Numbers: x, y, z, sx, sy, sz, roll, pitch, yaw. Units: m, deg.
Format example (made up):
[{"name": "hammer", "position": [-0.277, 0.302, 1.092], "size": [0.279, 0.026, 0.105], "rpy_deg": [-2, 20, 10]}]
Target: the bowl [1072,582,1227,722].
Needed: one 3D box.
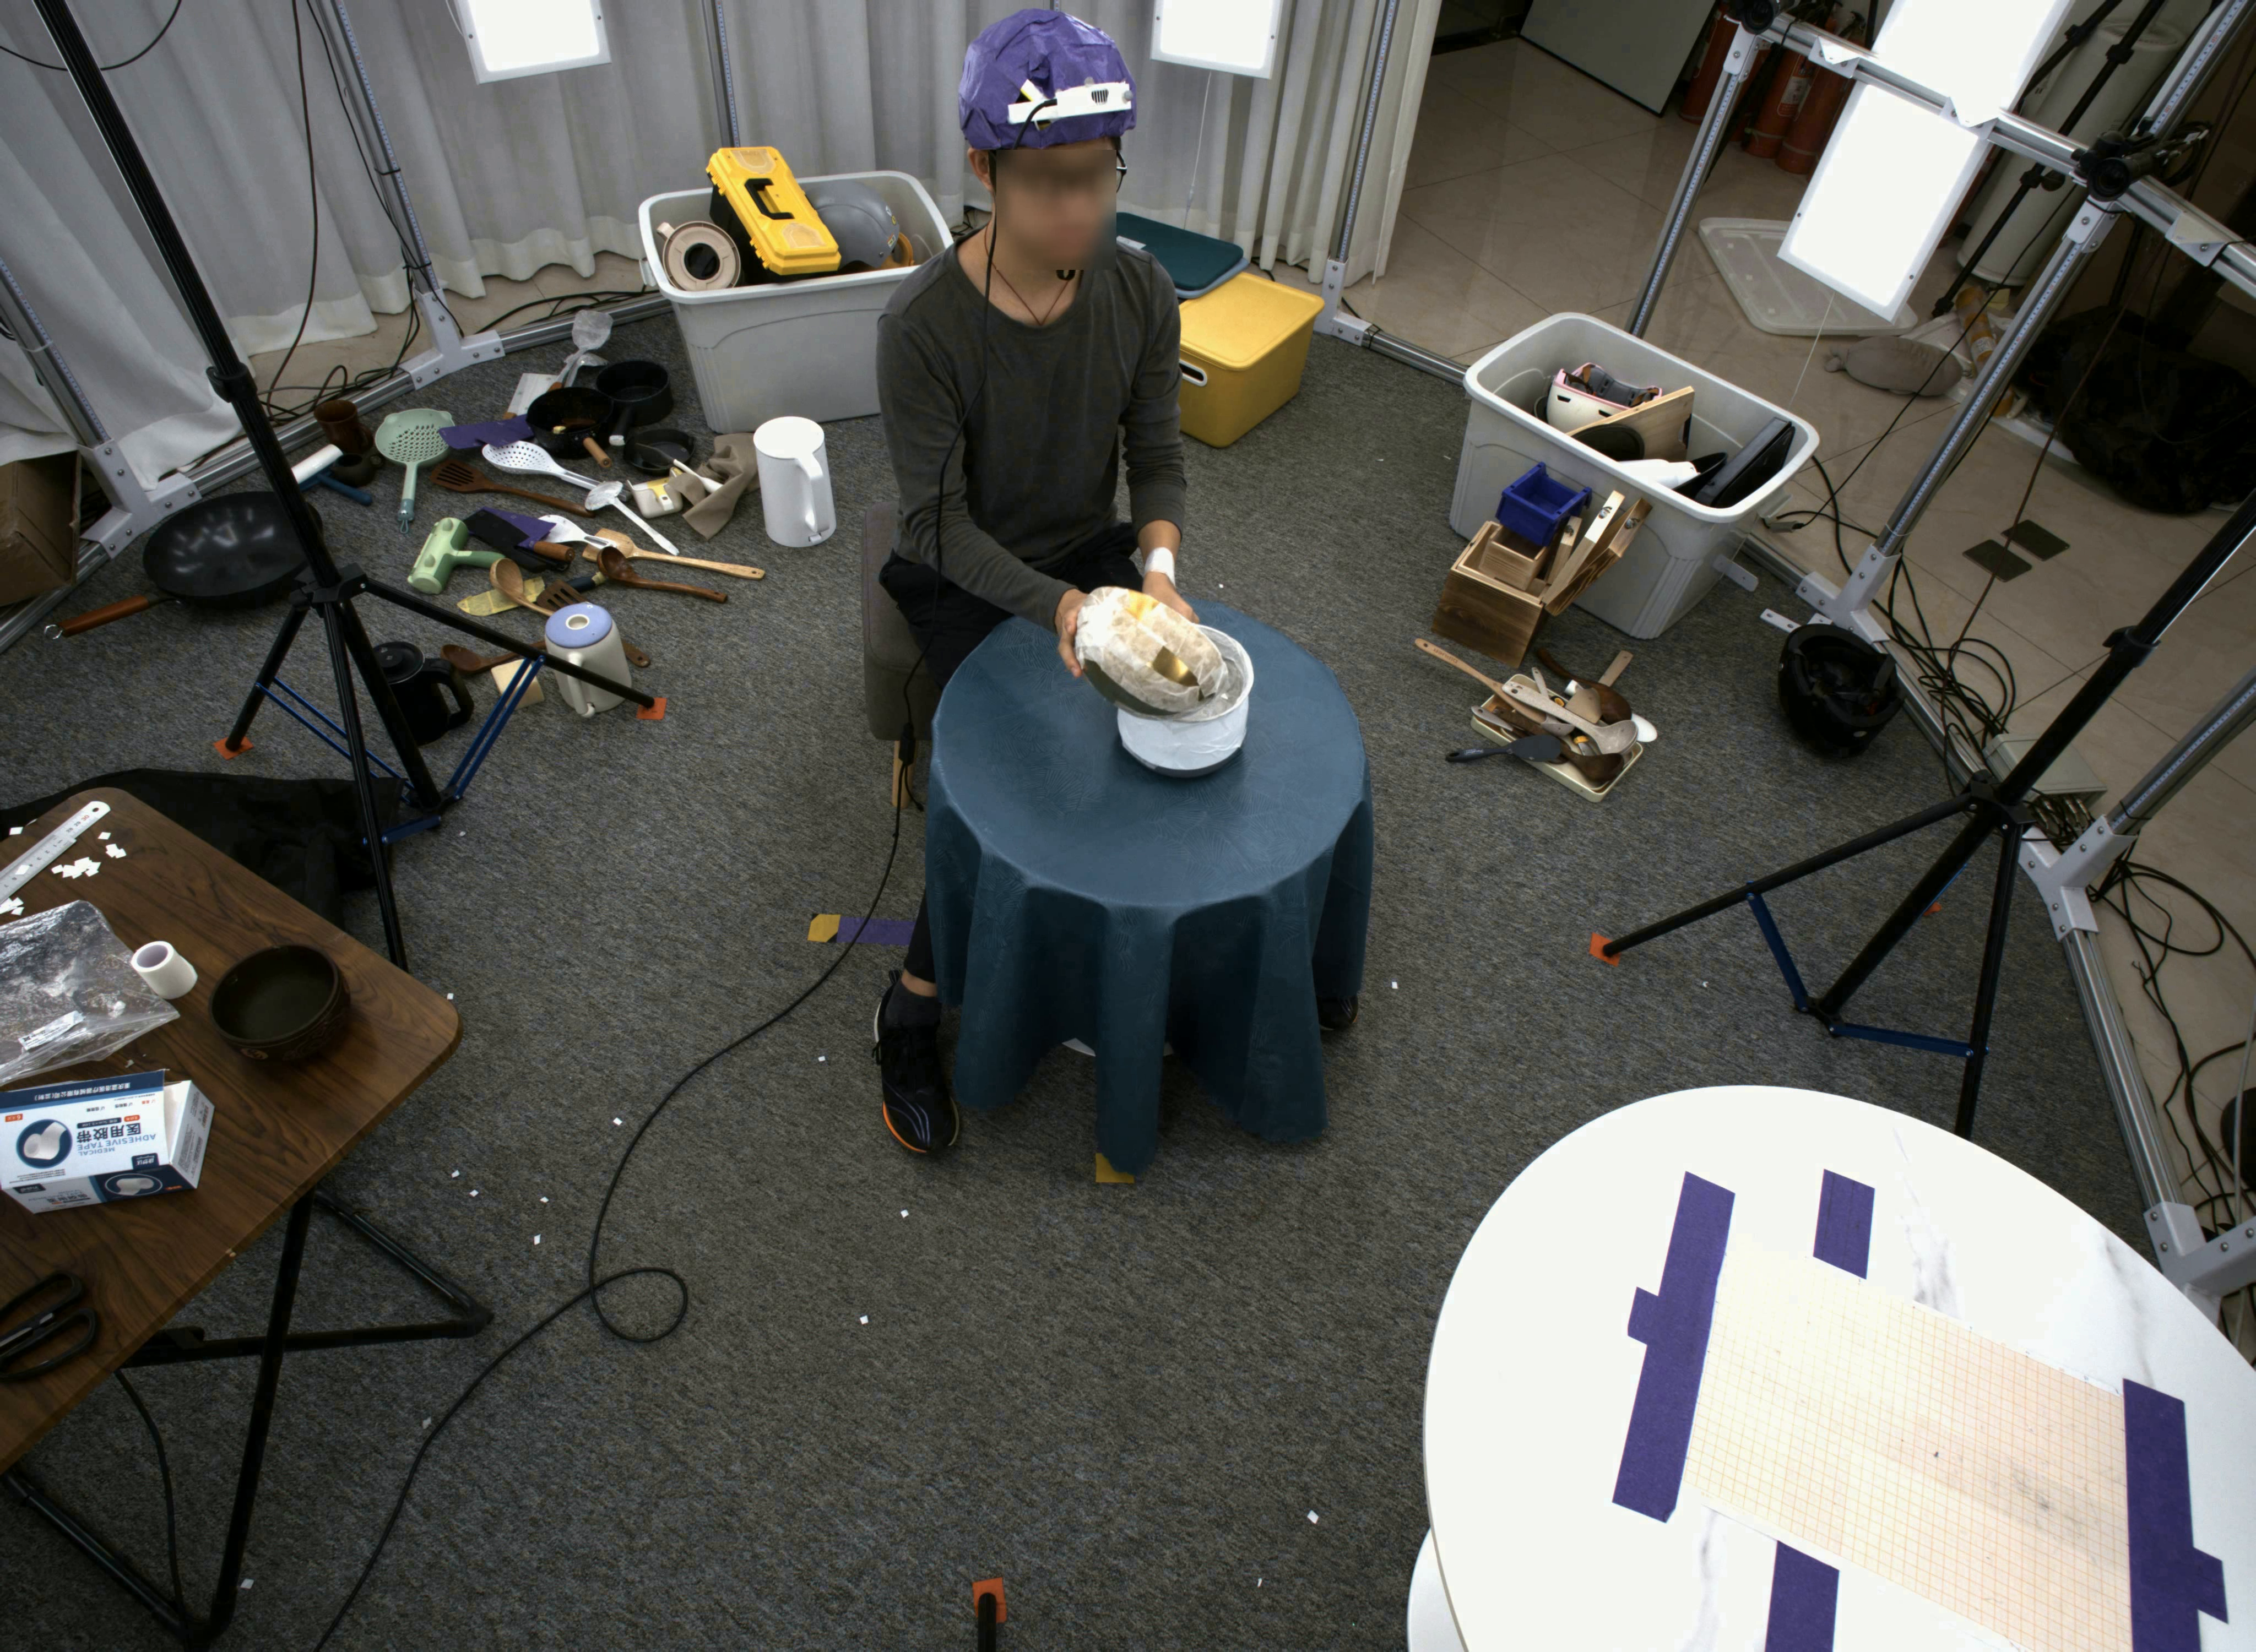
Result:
[{"name": "bowl", "position": [0.009, -0.191, 1.557], "size": [0.216, 0.210, 0.095], "rpy_deg": [27, 73, 17]}]

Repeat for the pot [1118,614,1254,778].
[{"name": "pot", "position": [0.070, -0.186, 1.737], "size": [0.178, 0.133, 0.239], "rpy_deg": [-7, 53, -6]}]
